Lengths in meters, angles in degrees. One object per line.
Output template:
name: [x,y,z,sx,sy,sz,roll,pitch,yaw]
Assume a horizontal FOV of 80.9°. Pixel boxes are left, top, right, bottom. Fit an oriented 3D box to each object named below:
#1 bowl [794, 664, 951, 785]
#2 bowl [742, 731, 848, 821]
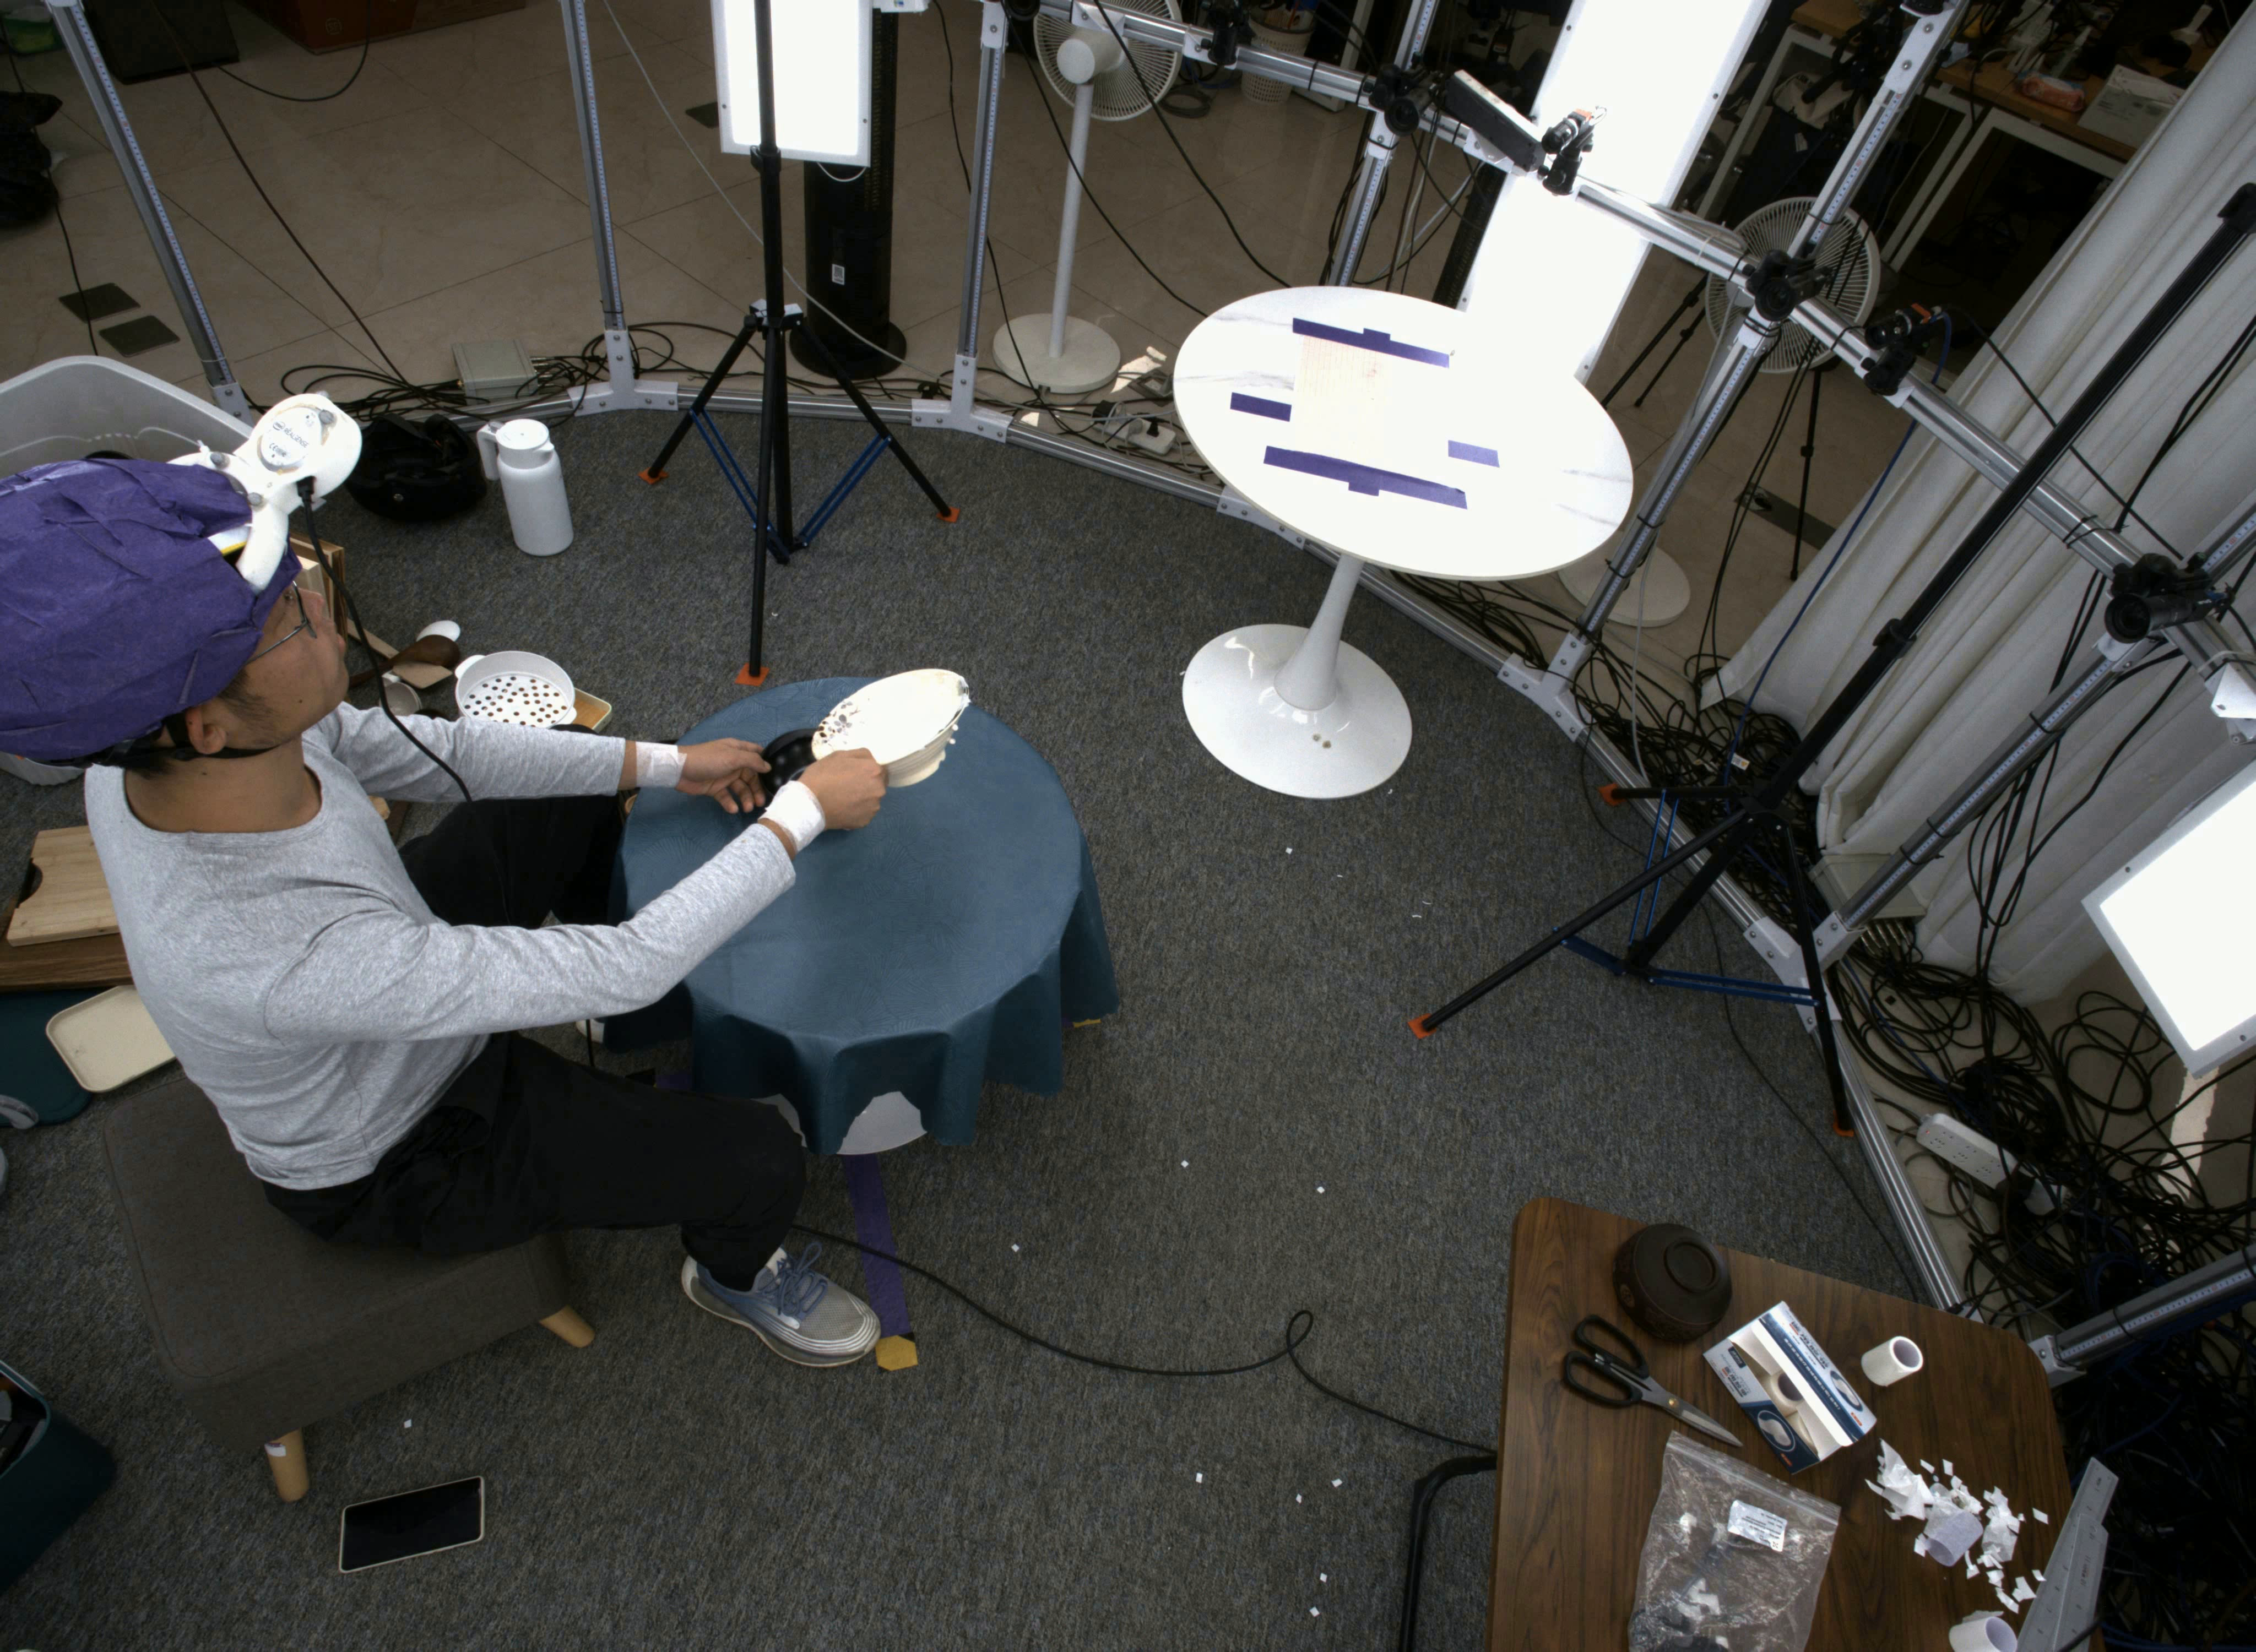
bowl: [-0.297,-0.108,1.583,0.200,0.081,0.200,-12,37,11]
bowl: [-0.447,-0.060,1.746,0.139,0.051,0.137,5,55,-5]
